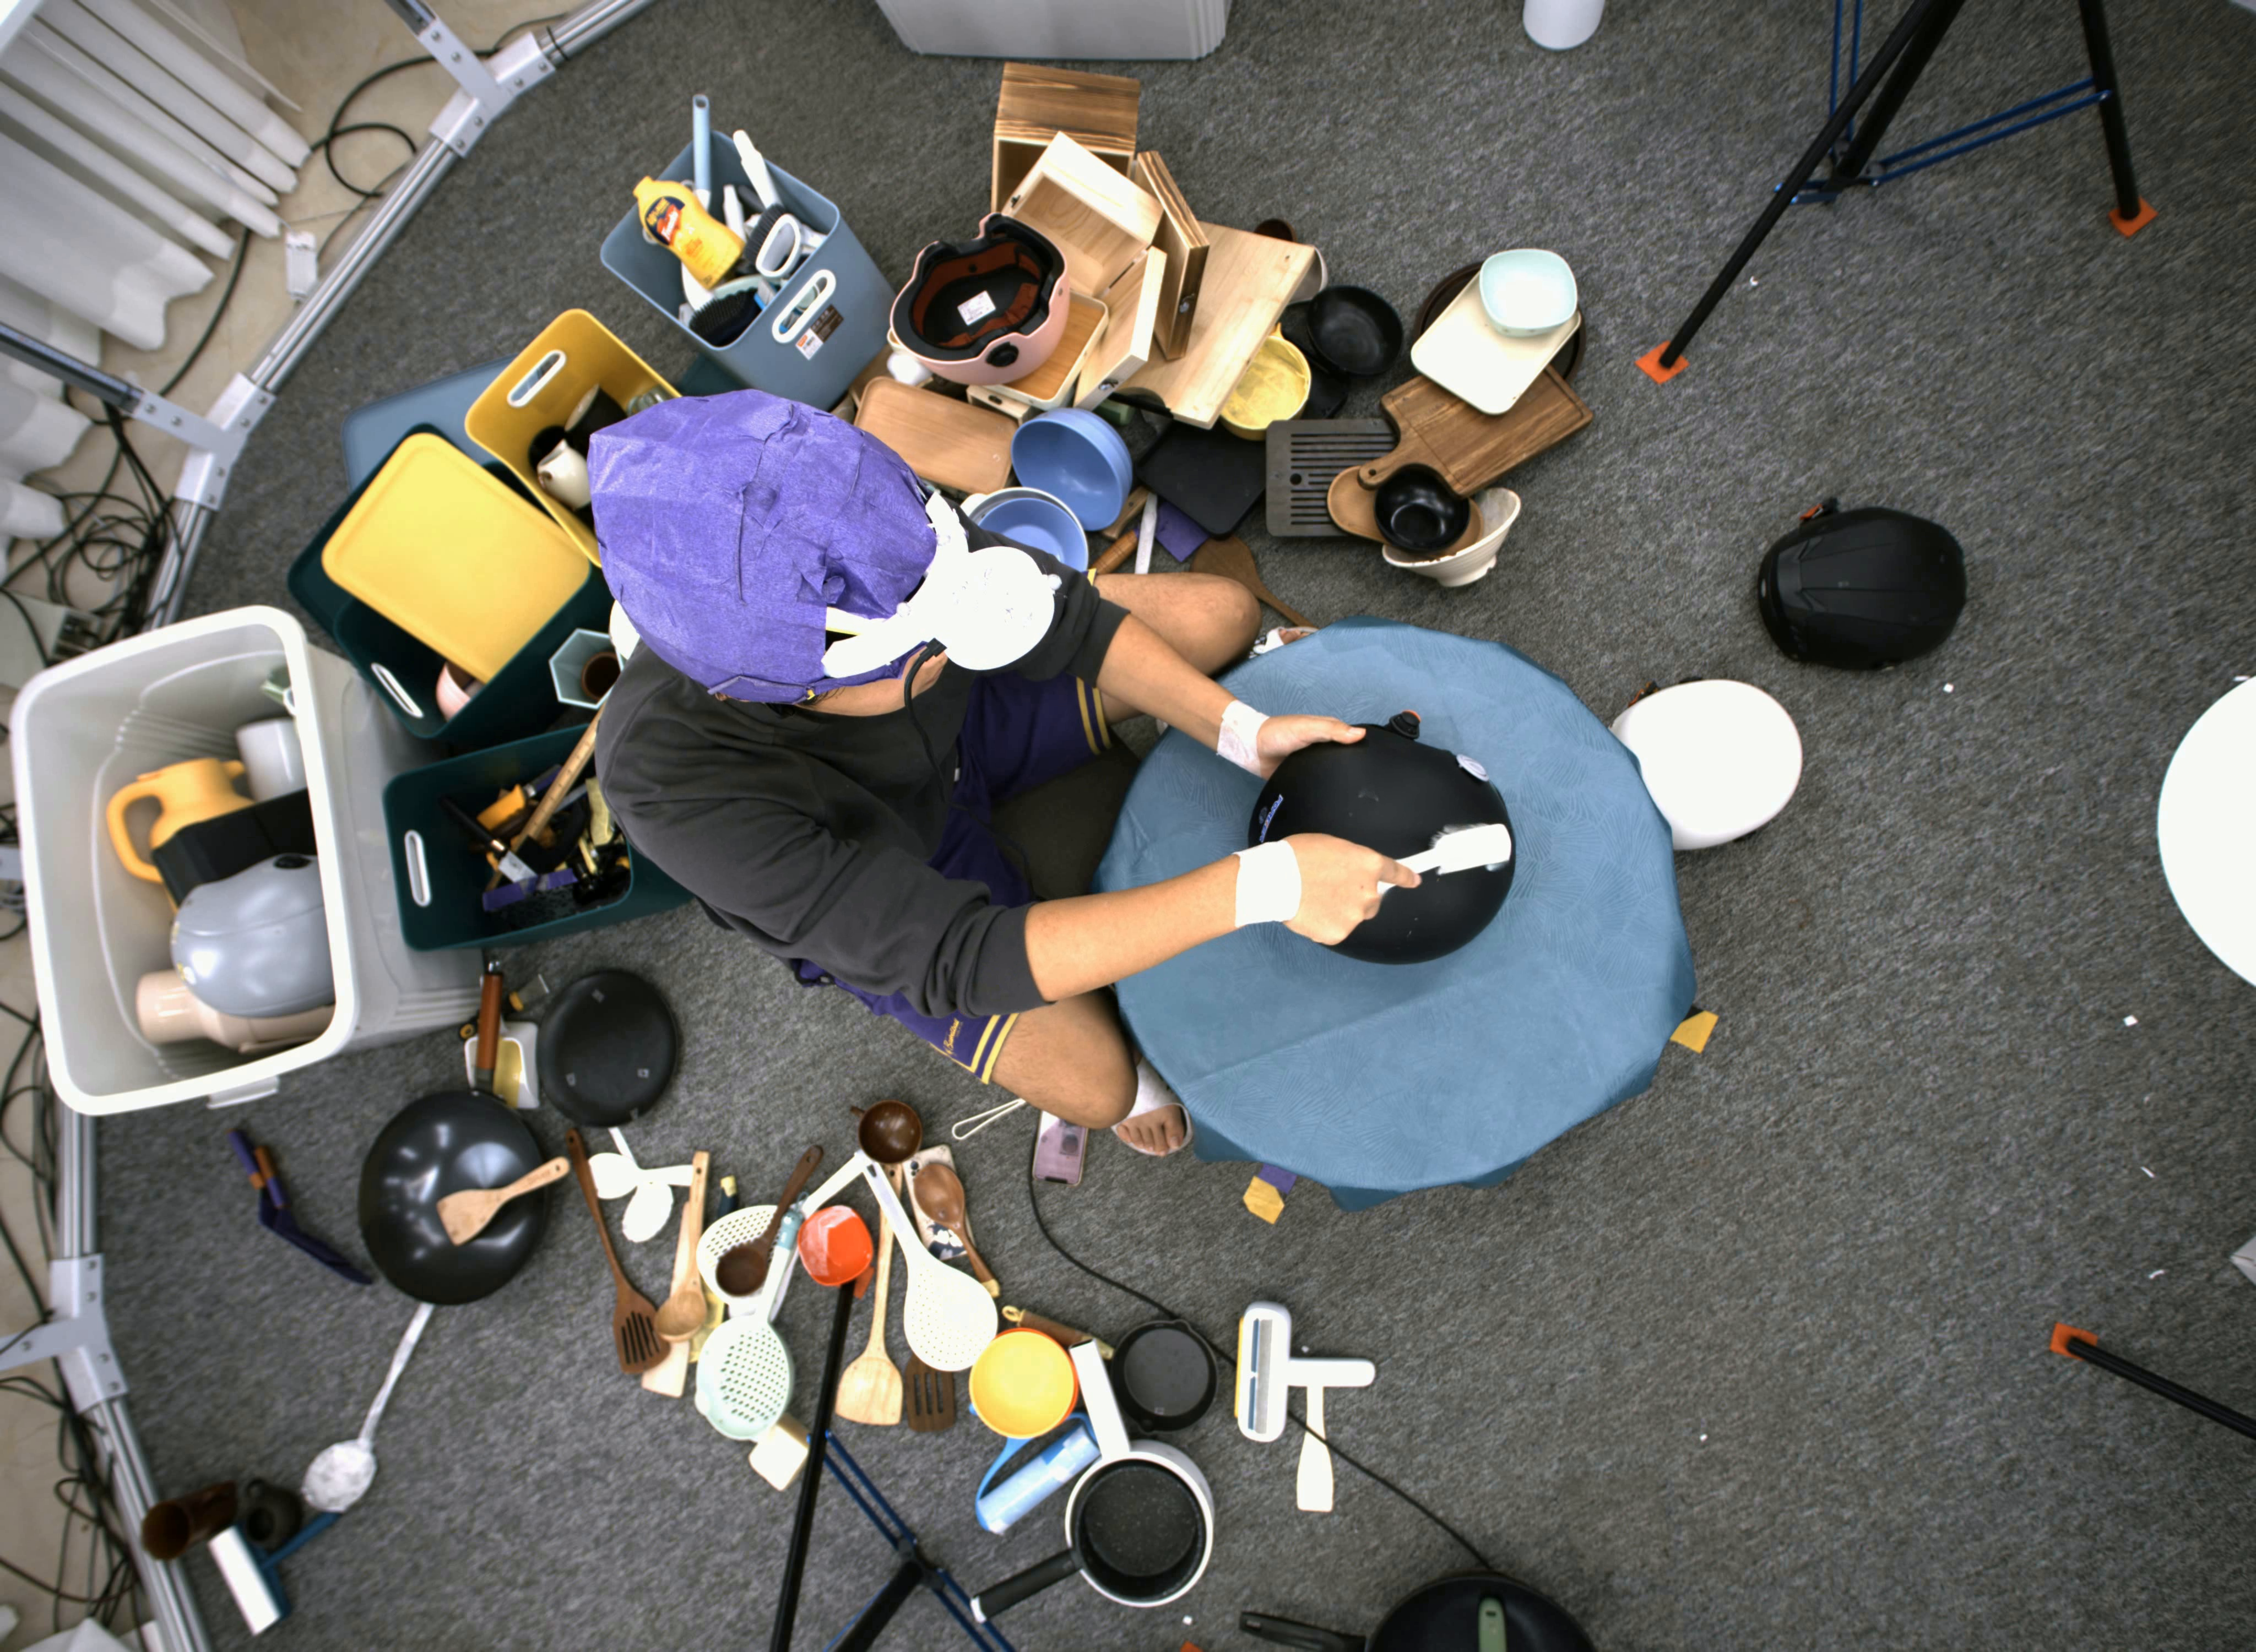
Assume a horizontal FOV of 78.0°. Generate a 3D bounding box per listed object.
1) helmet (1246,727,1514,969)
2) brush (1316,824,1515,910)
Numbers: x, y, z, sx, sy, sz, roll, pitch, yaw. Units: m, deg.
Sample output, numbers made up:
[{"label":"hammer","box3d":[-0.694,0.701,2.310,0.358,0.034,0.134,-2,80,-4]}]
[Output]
[{"label":"helmet","box3d":[0.253,0.038,1.337,0.273,0.163,0.235,22,118,-10]},{"label":"brush","box3d":[0.244,0.034,1.198,0.241,0.050,0.034,-14,96,-31]}]
